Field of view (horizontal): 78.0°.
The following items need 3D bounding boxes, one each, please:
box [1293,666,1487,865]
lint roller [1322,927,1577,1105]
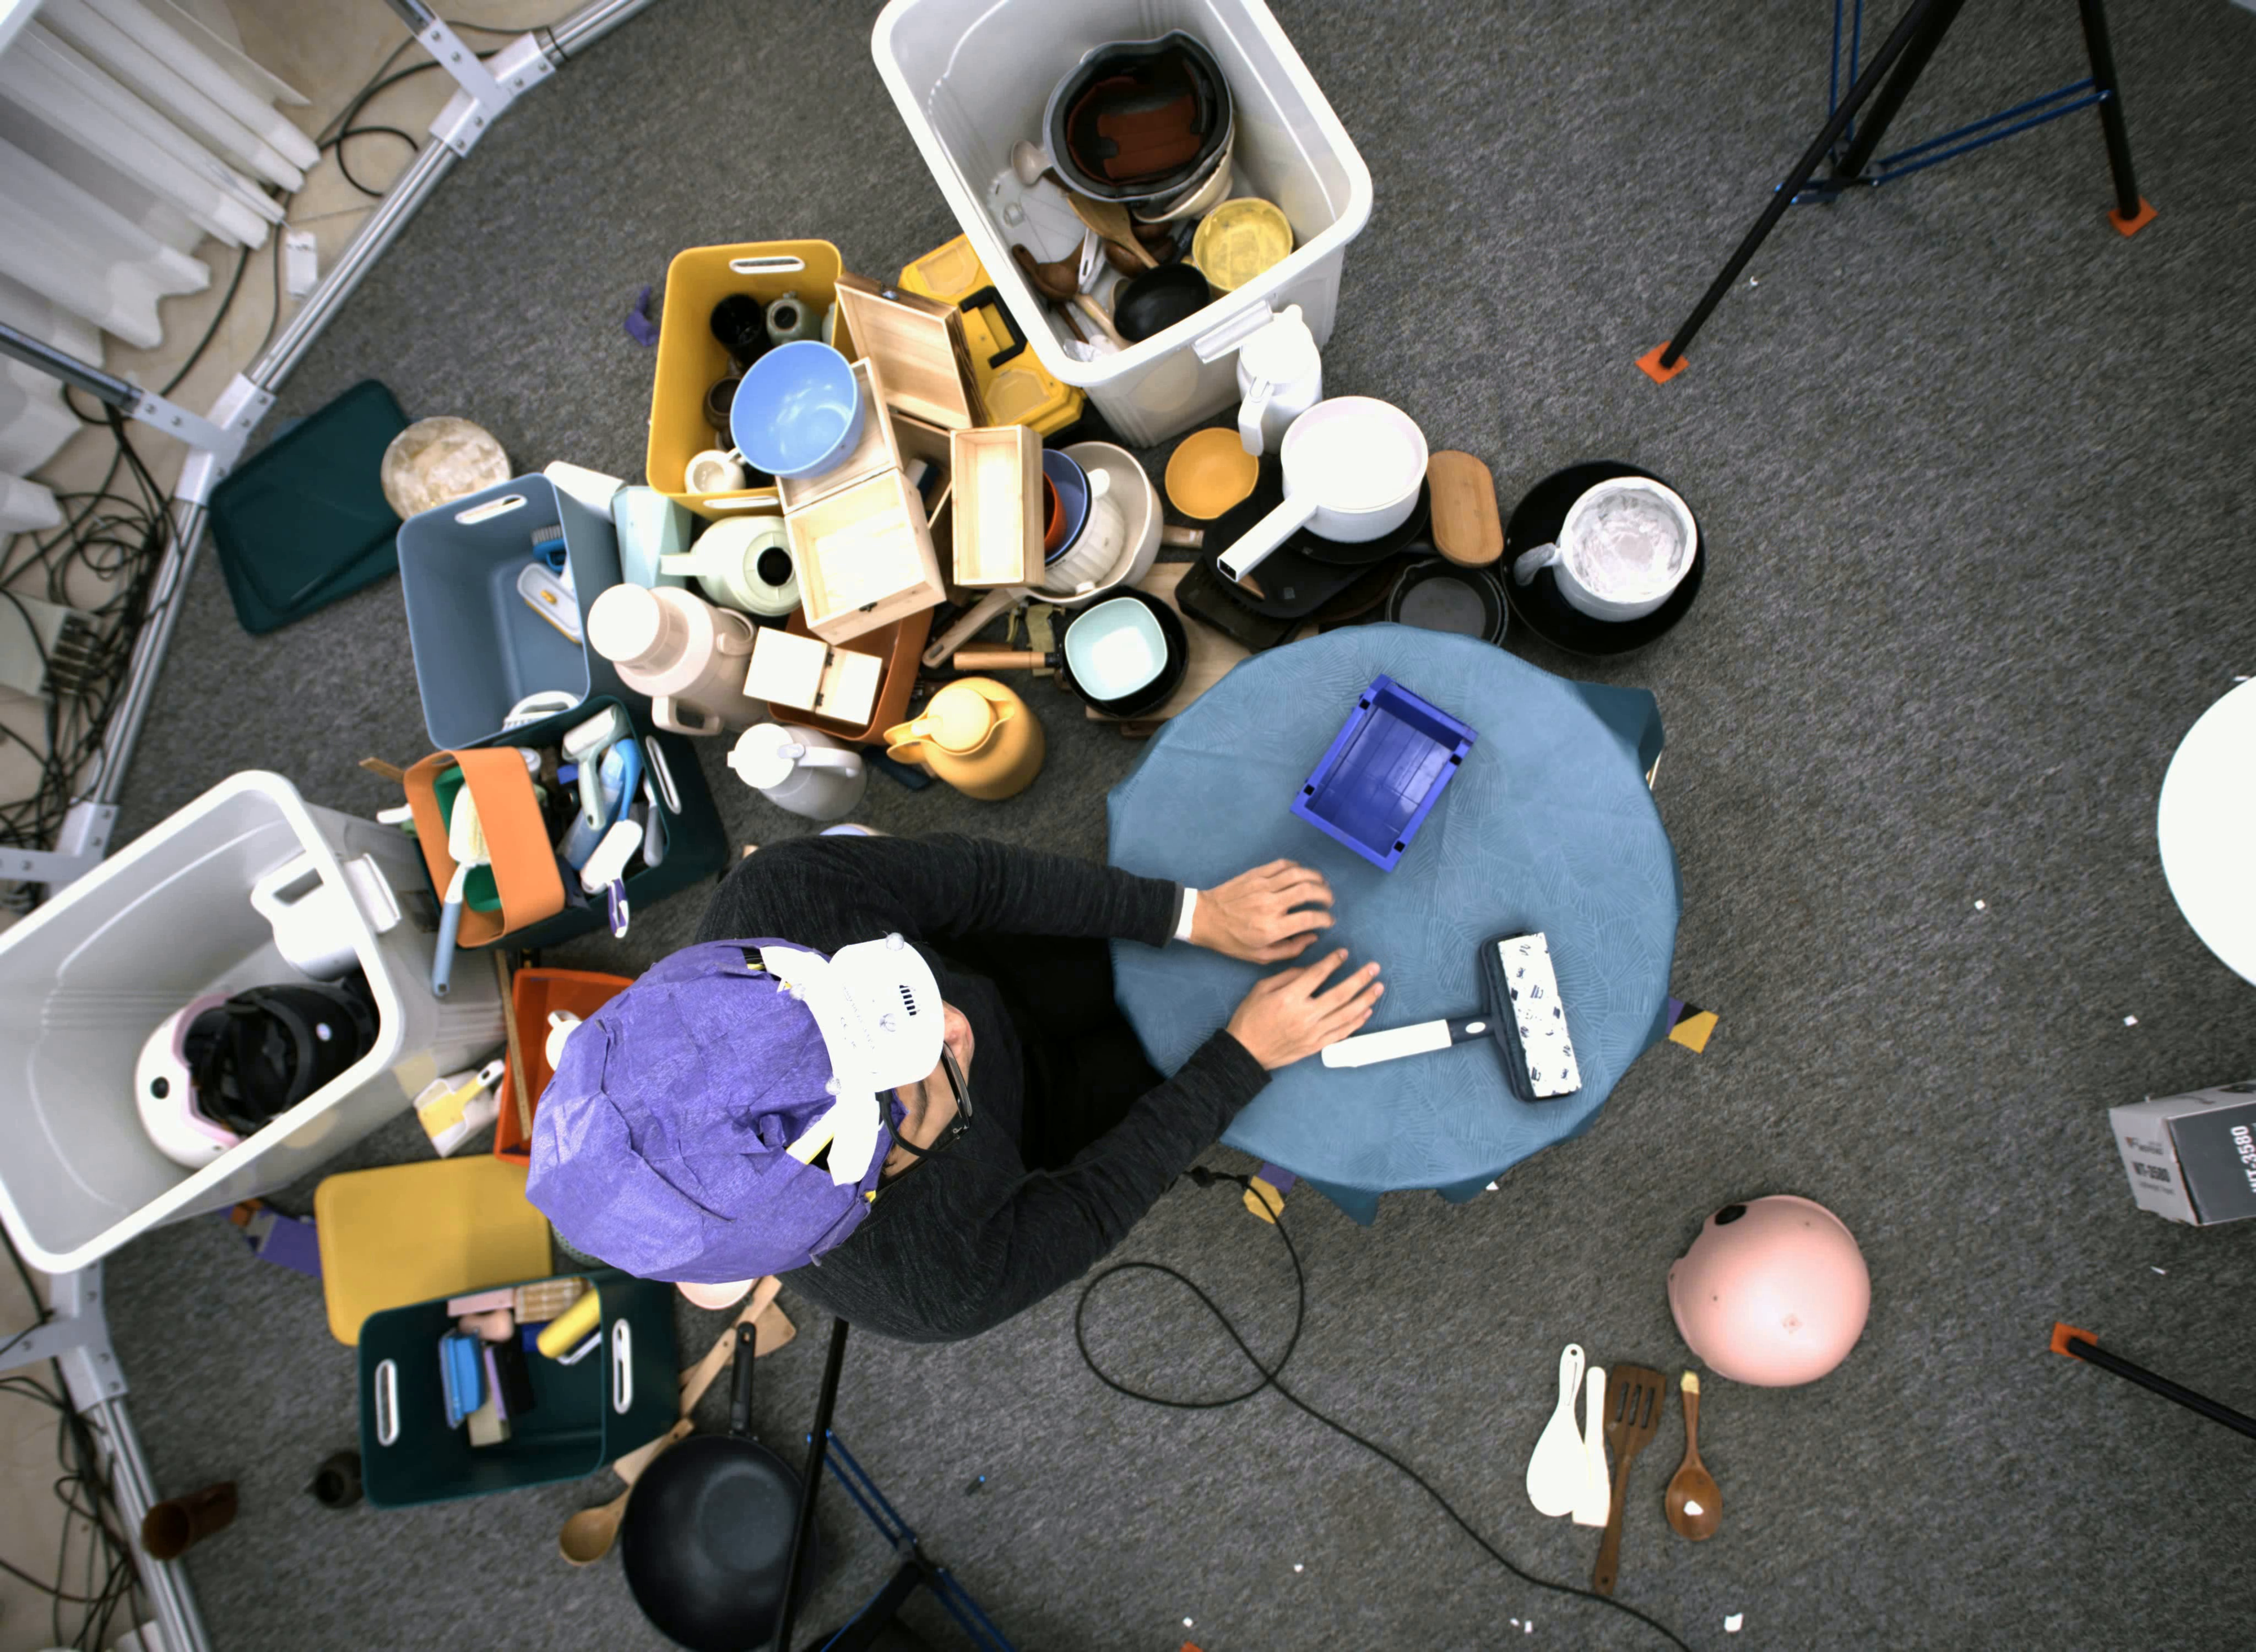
[{"bbox_3d":[0.271,-0.067,1.426,0.124,0.082,0.180,34,95,11],"label":"box"},{"bbox_3d":[0.321,0.213,1.421,0.248,0.050,0.175,-14,85,11],"label":"lint roller"}]
